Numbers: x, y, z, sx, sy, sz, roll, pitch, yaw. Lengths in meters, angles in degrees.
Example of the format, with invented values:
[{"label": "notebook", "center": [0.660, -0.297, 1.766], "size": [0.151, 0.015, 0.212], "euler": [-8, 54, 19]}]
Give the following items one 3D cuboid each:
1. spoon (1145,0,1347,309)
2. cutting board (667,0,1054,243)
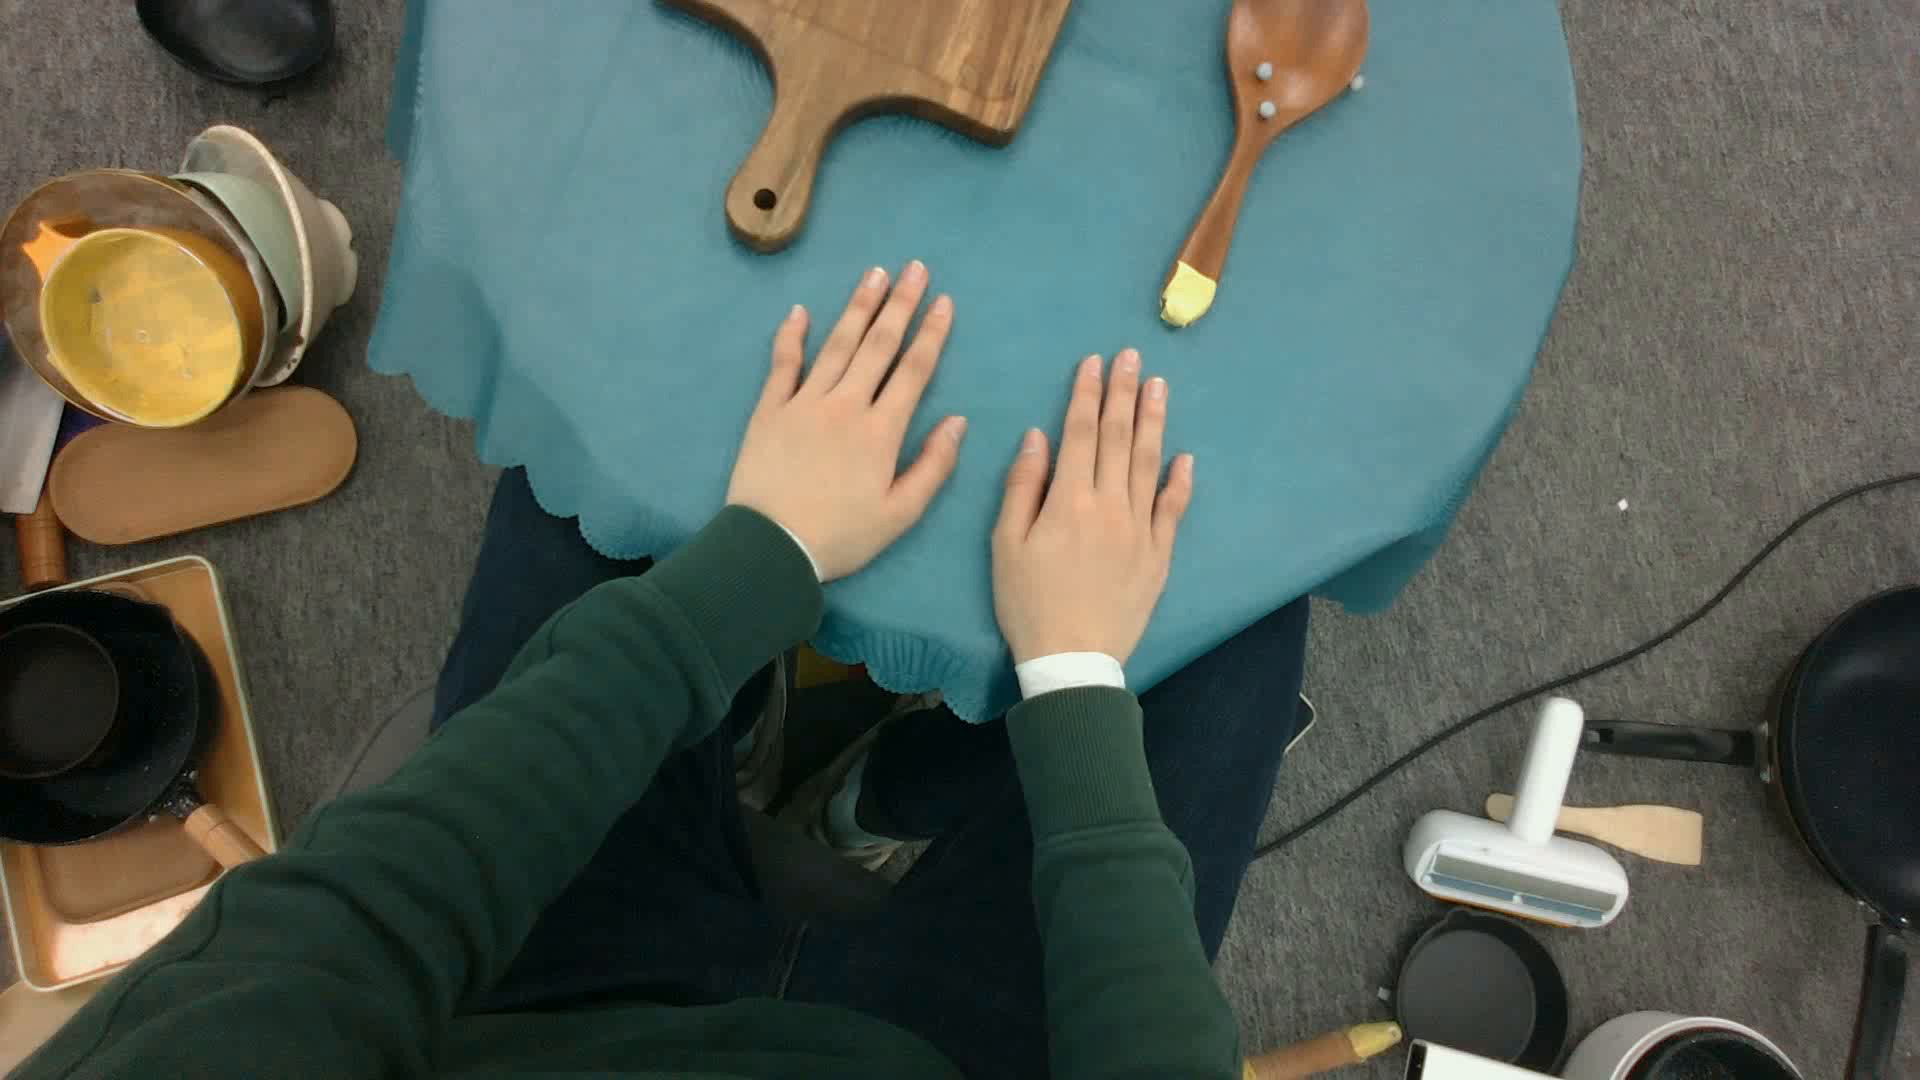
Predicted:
[{"label": "spoon", "center": [0.141, -0.213, 0.707], "size": [0.075, 0.017, 0.216], "euler": [25, 76, -6]}, {"label": "cutting board", "center": [-0.046, -0.308, 0.695], "size": [0.201, 0.023, 0.353], "euler": [22, 77, -6]}]
